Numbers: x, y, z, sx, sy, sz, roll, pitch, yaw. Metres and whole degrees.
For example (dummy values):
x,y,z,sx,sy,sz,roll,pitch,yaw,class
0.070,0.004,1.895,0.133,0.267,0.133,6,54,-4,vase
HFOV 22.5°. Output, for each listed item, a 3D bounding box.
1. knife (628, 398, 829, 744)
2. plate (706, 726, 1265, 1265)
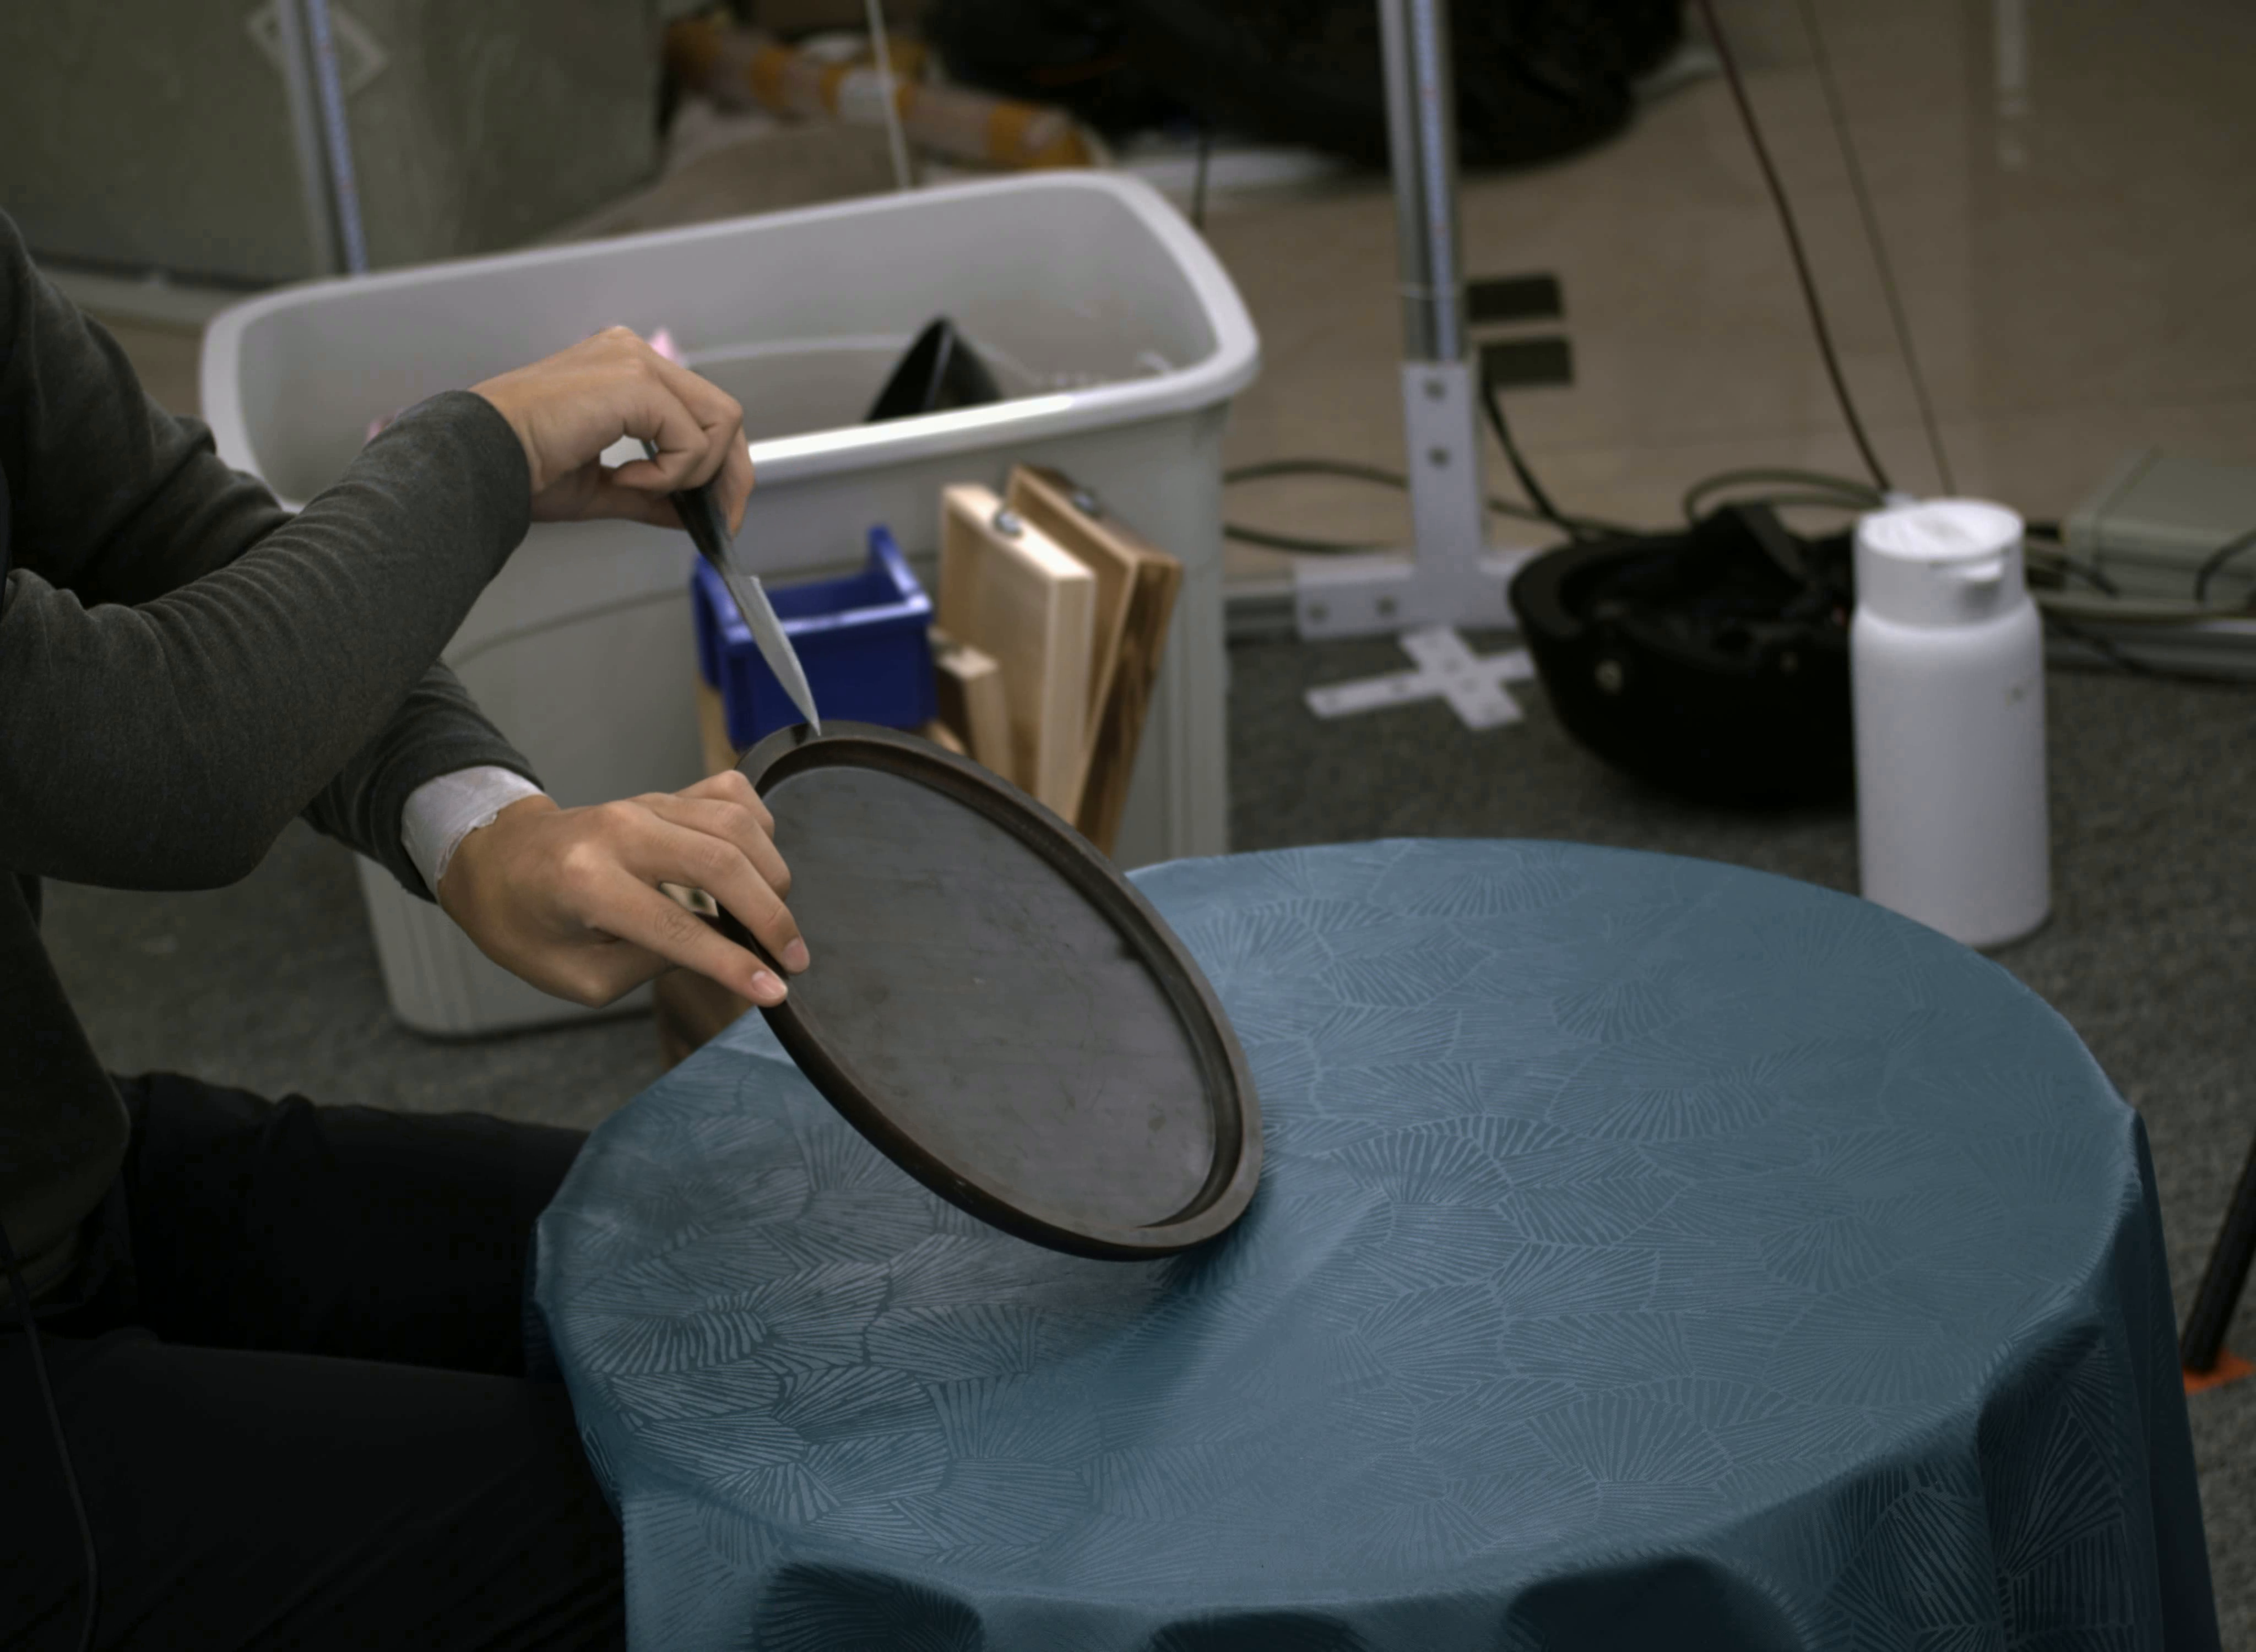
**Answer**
x,y,z,sx,sy,sz,roll,pitch,yaw,class
-0.156,-0.102,2.211,0.024,0.016,0.234,29,21,-39,knife
-0.054,0.063,2.116,0.256,0.029,0.250,33,30,-21,plate
